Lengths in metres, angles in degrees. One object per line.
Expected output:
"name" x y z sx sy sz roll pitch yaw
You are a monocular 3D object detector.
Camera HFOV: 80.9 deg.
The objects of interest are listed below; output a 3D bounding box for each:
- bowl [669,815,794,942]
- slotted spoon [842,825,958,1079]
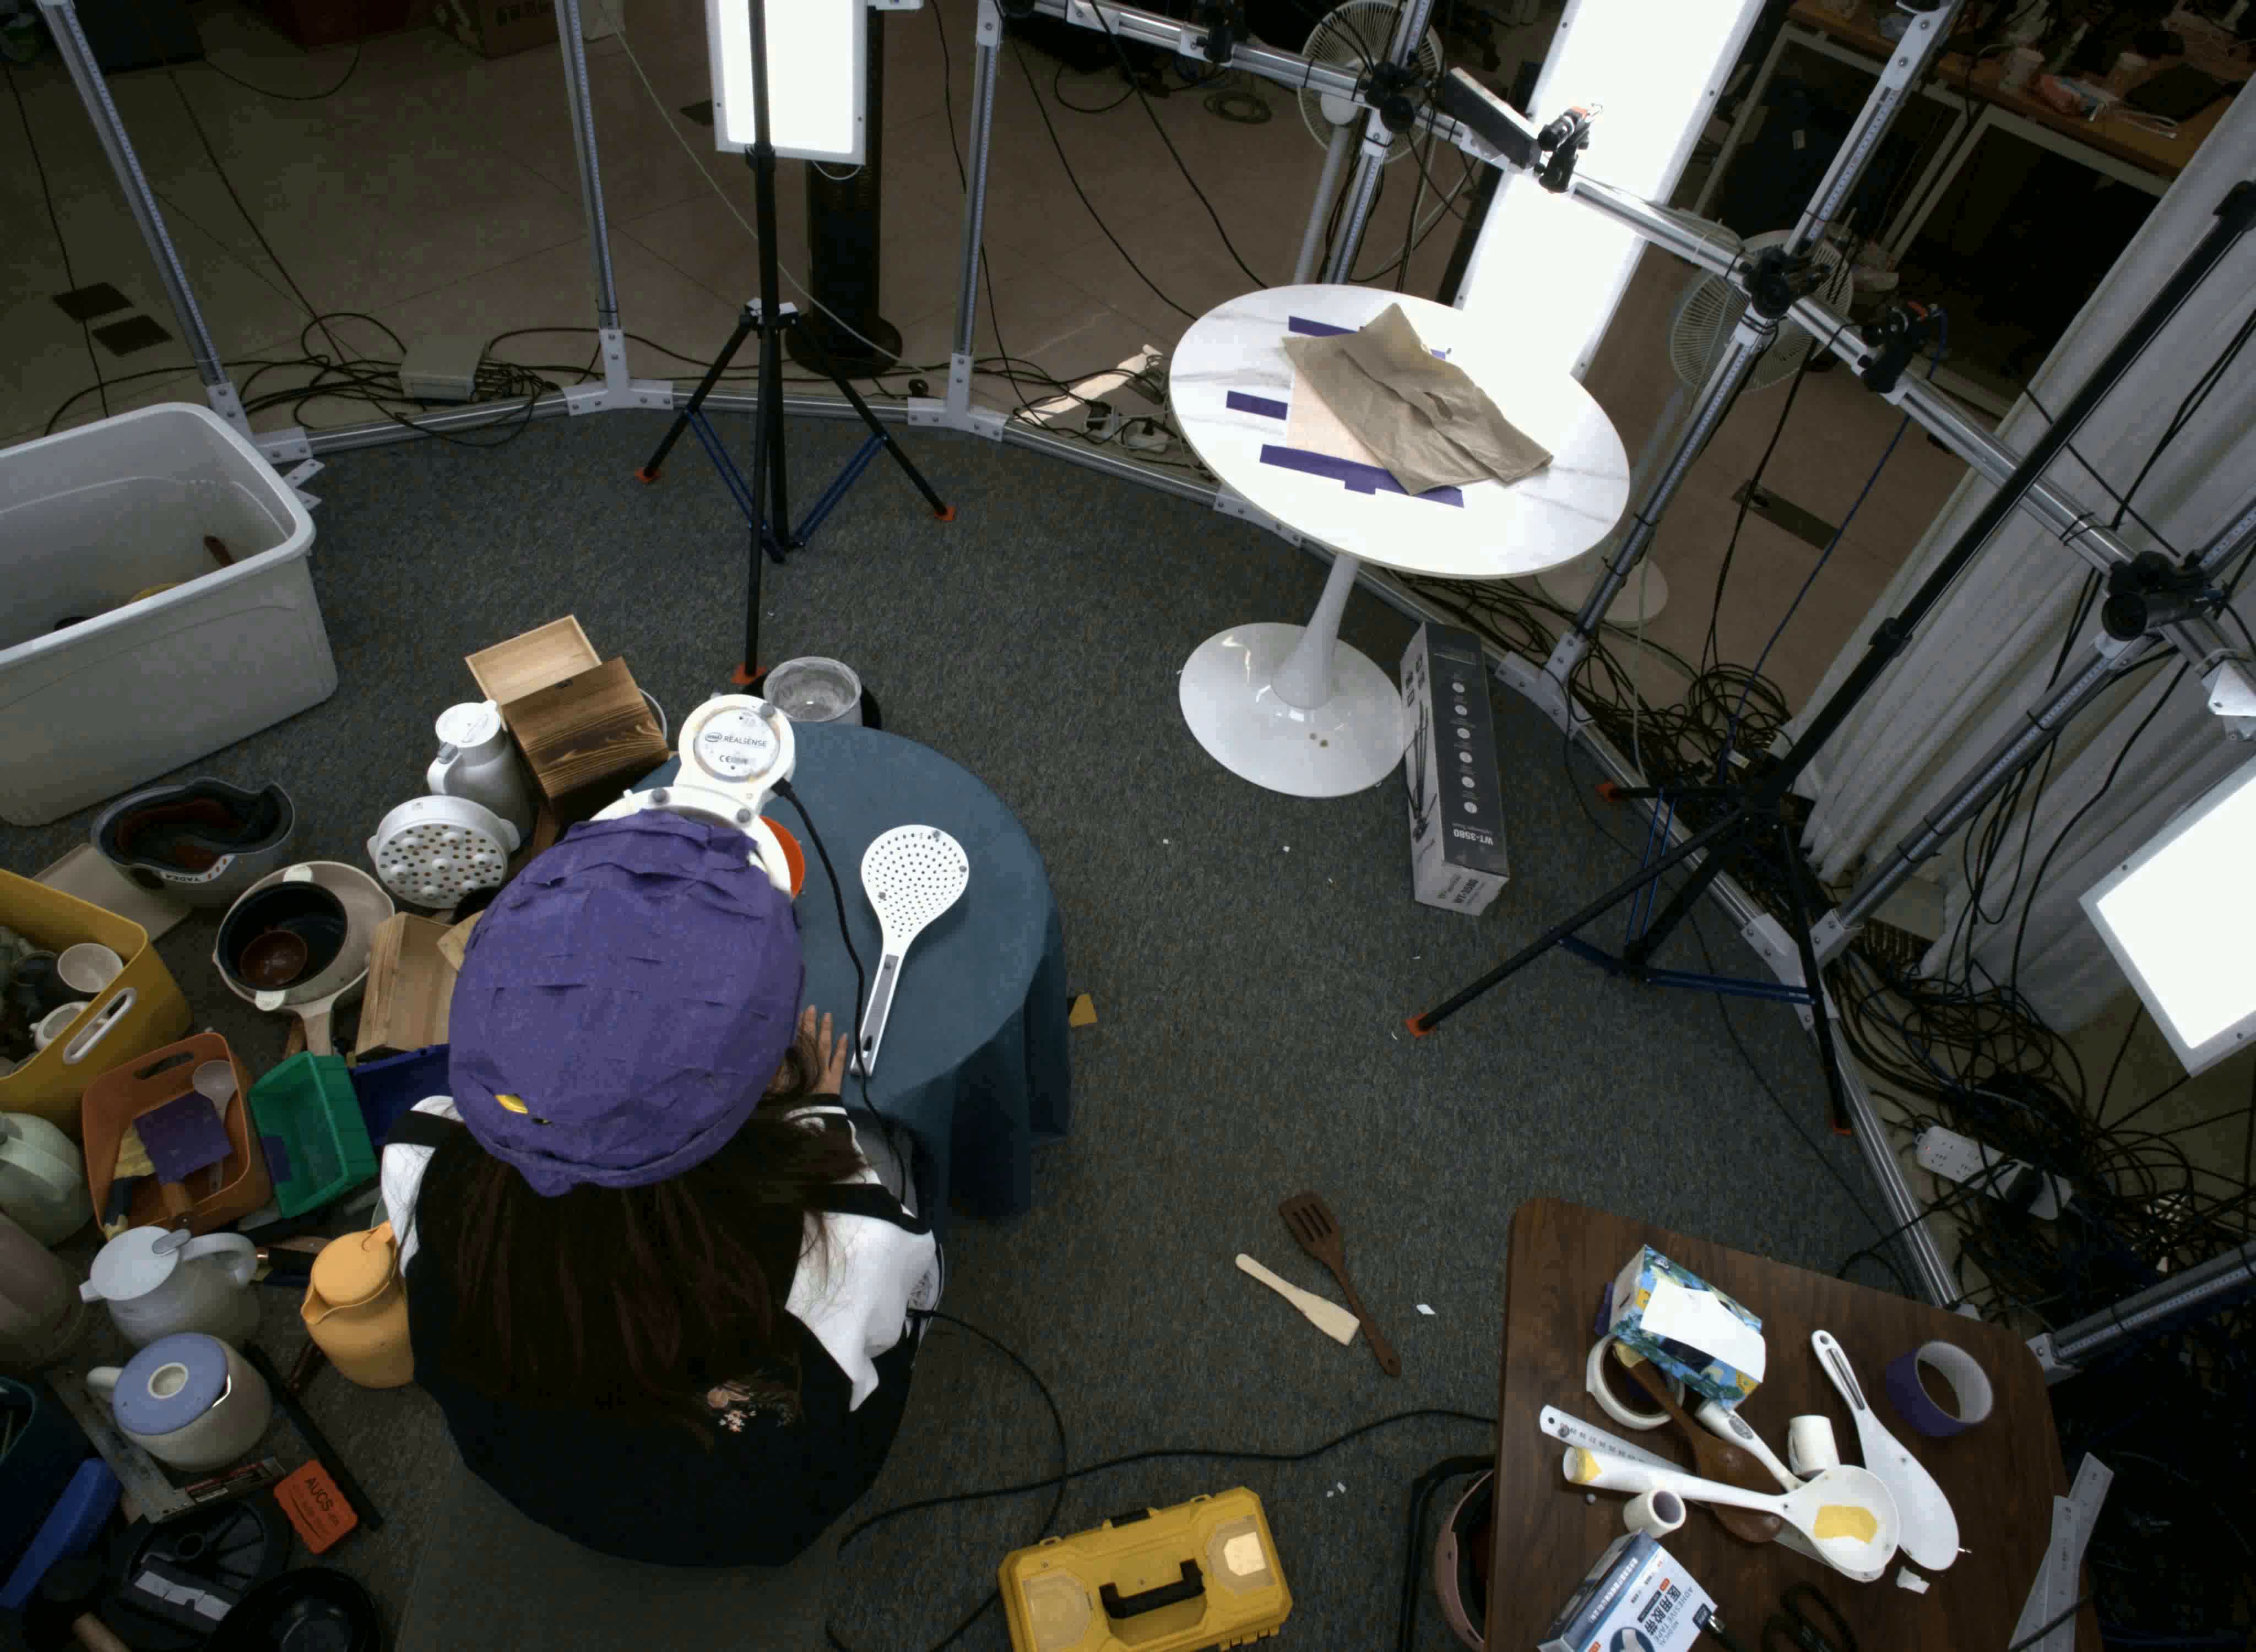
"bowl" -0.483 0.074 1.583 0.148 0.106 0.145 9 52 -9
"slotted spoon" -0.299 0.147 1.612 0.135 0.047 0.344 11 53 -4
